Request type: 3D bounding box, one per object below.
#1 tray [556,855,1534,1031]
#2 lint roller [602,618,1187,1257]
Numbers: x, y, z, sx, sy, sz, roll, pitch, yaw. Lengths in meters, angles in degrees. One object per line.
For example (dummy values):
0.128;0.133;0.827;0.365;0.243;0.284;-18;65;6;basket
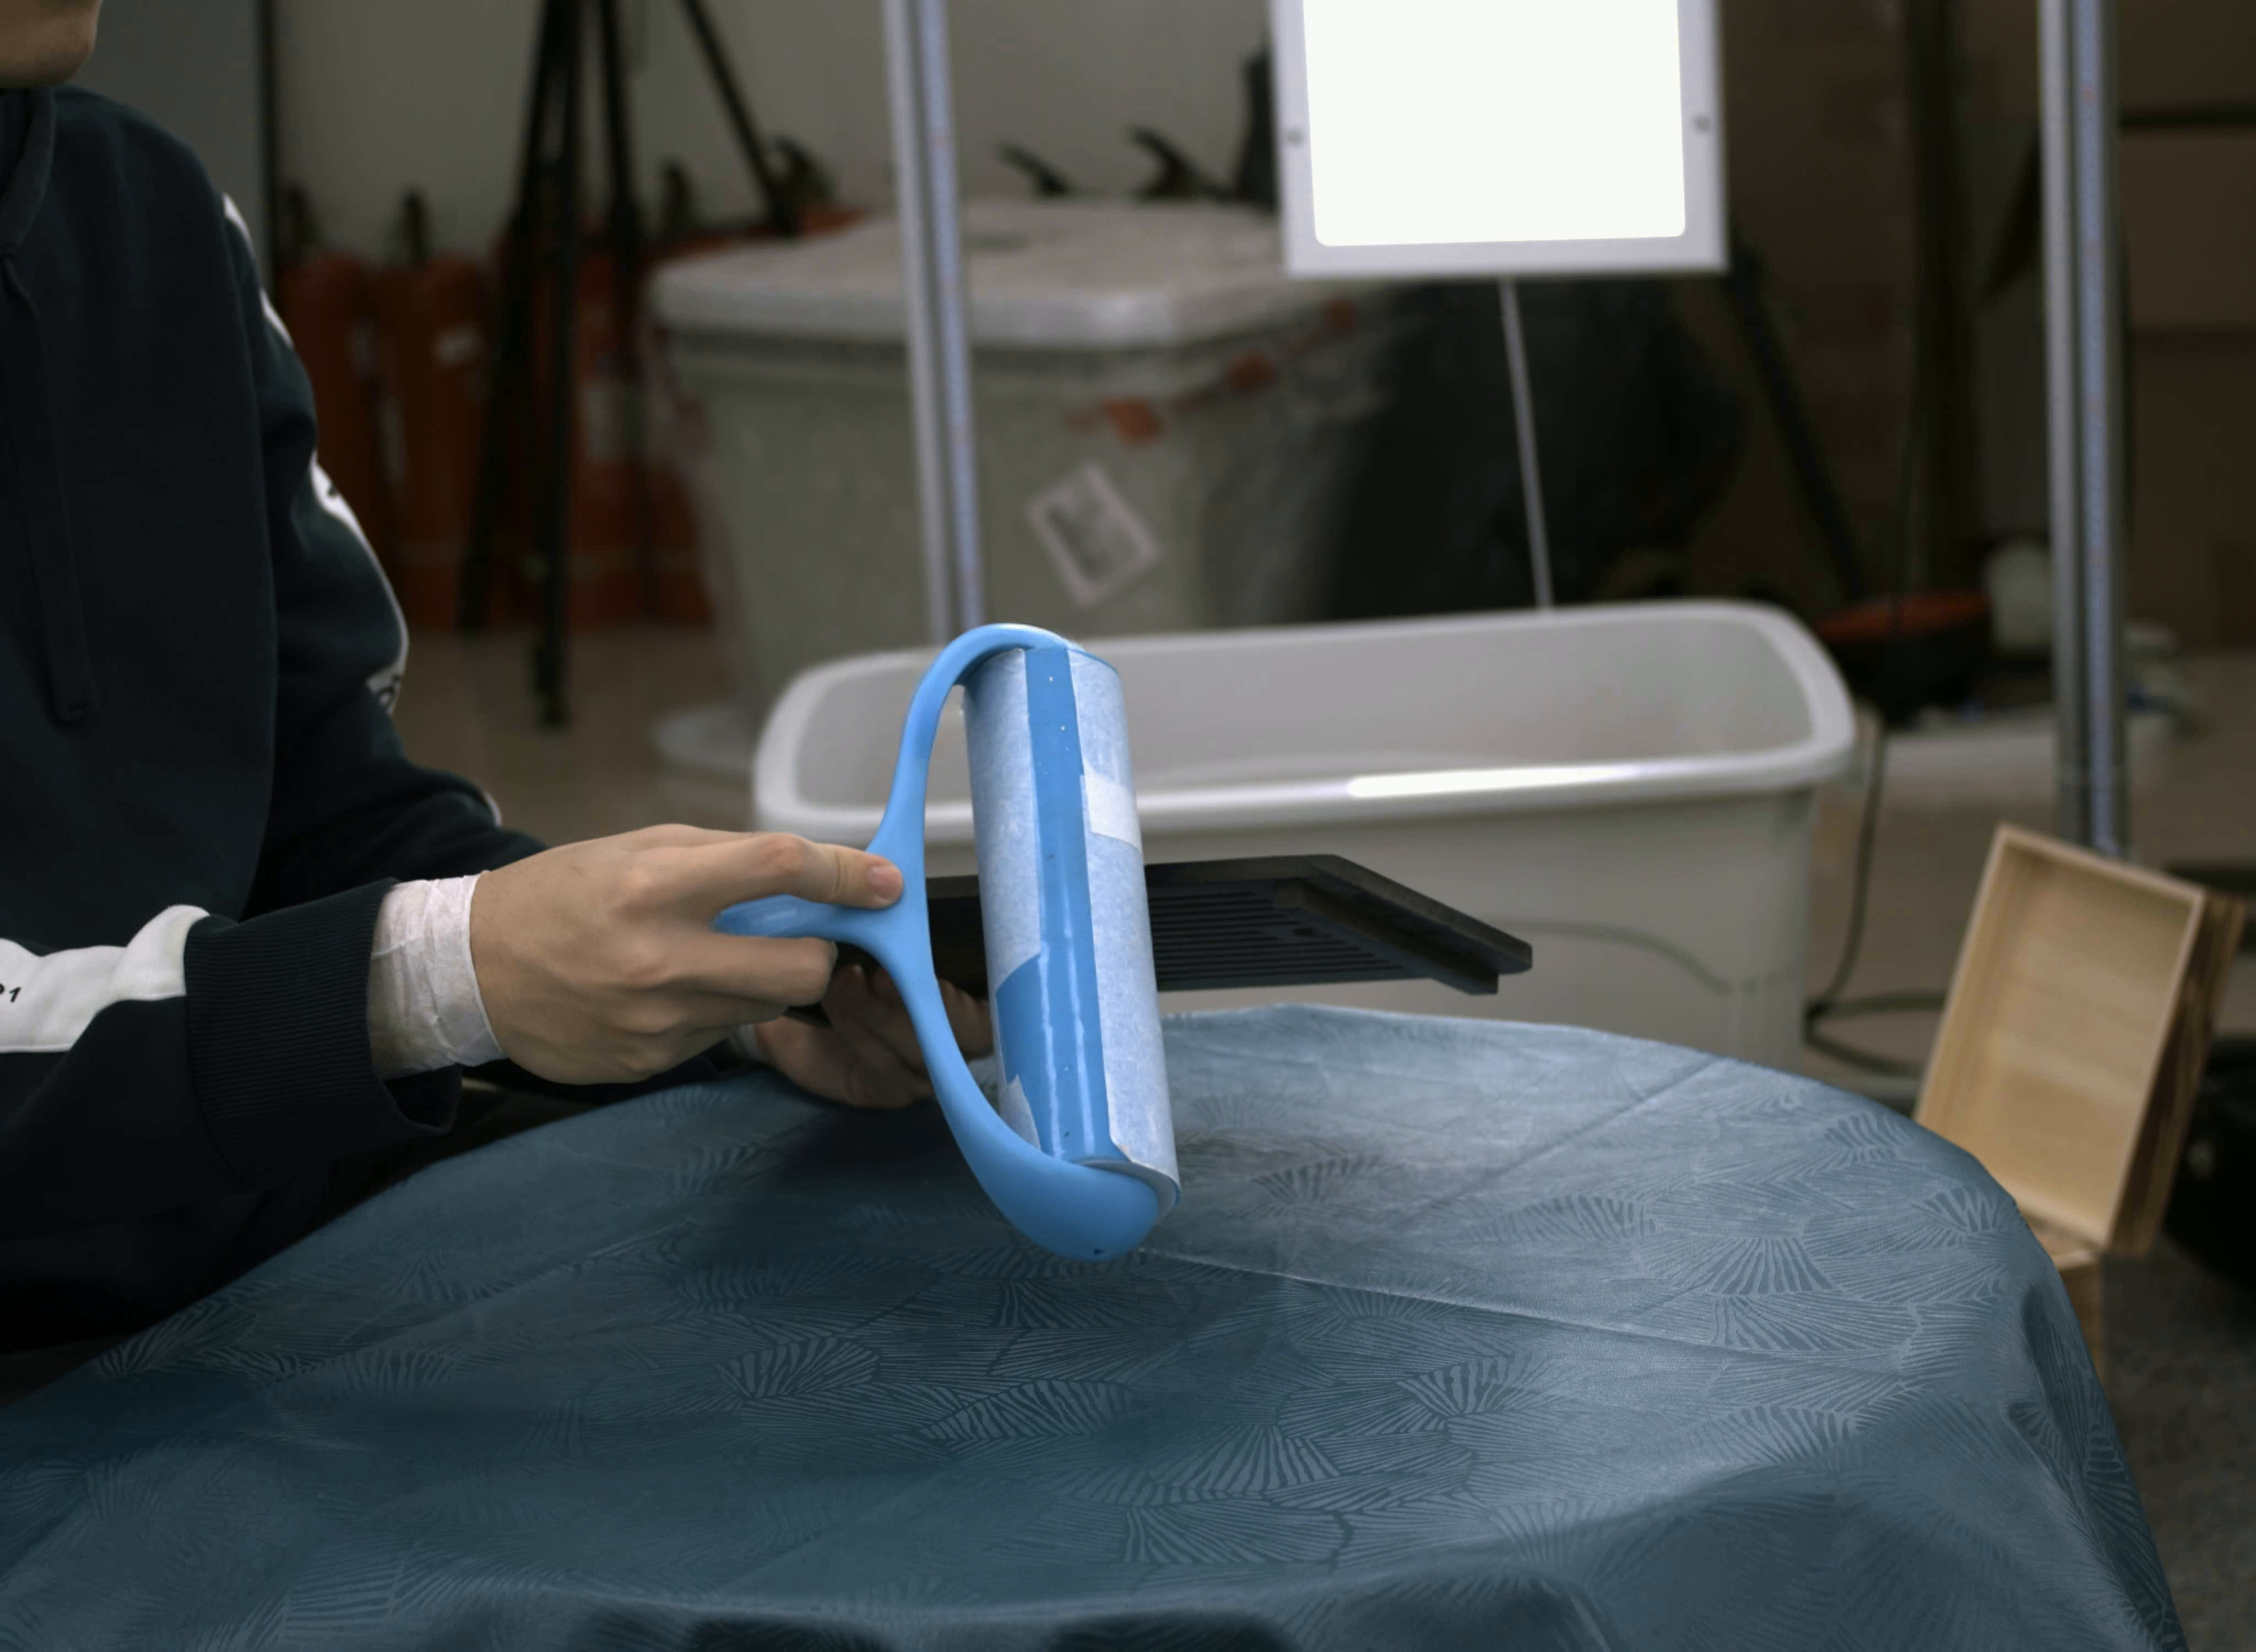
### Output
-0.029;0.043;1.891;0.312;0.018;0.167;-4;-14;30;tray
-0.077;0.039;1.738;0.179;0.068;0.229;-6;58;-4;lint roller
